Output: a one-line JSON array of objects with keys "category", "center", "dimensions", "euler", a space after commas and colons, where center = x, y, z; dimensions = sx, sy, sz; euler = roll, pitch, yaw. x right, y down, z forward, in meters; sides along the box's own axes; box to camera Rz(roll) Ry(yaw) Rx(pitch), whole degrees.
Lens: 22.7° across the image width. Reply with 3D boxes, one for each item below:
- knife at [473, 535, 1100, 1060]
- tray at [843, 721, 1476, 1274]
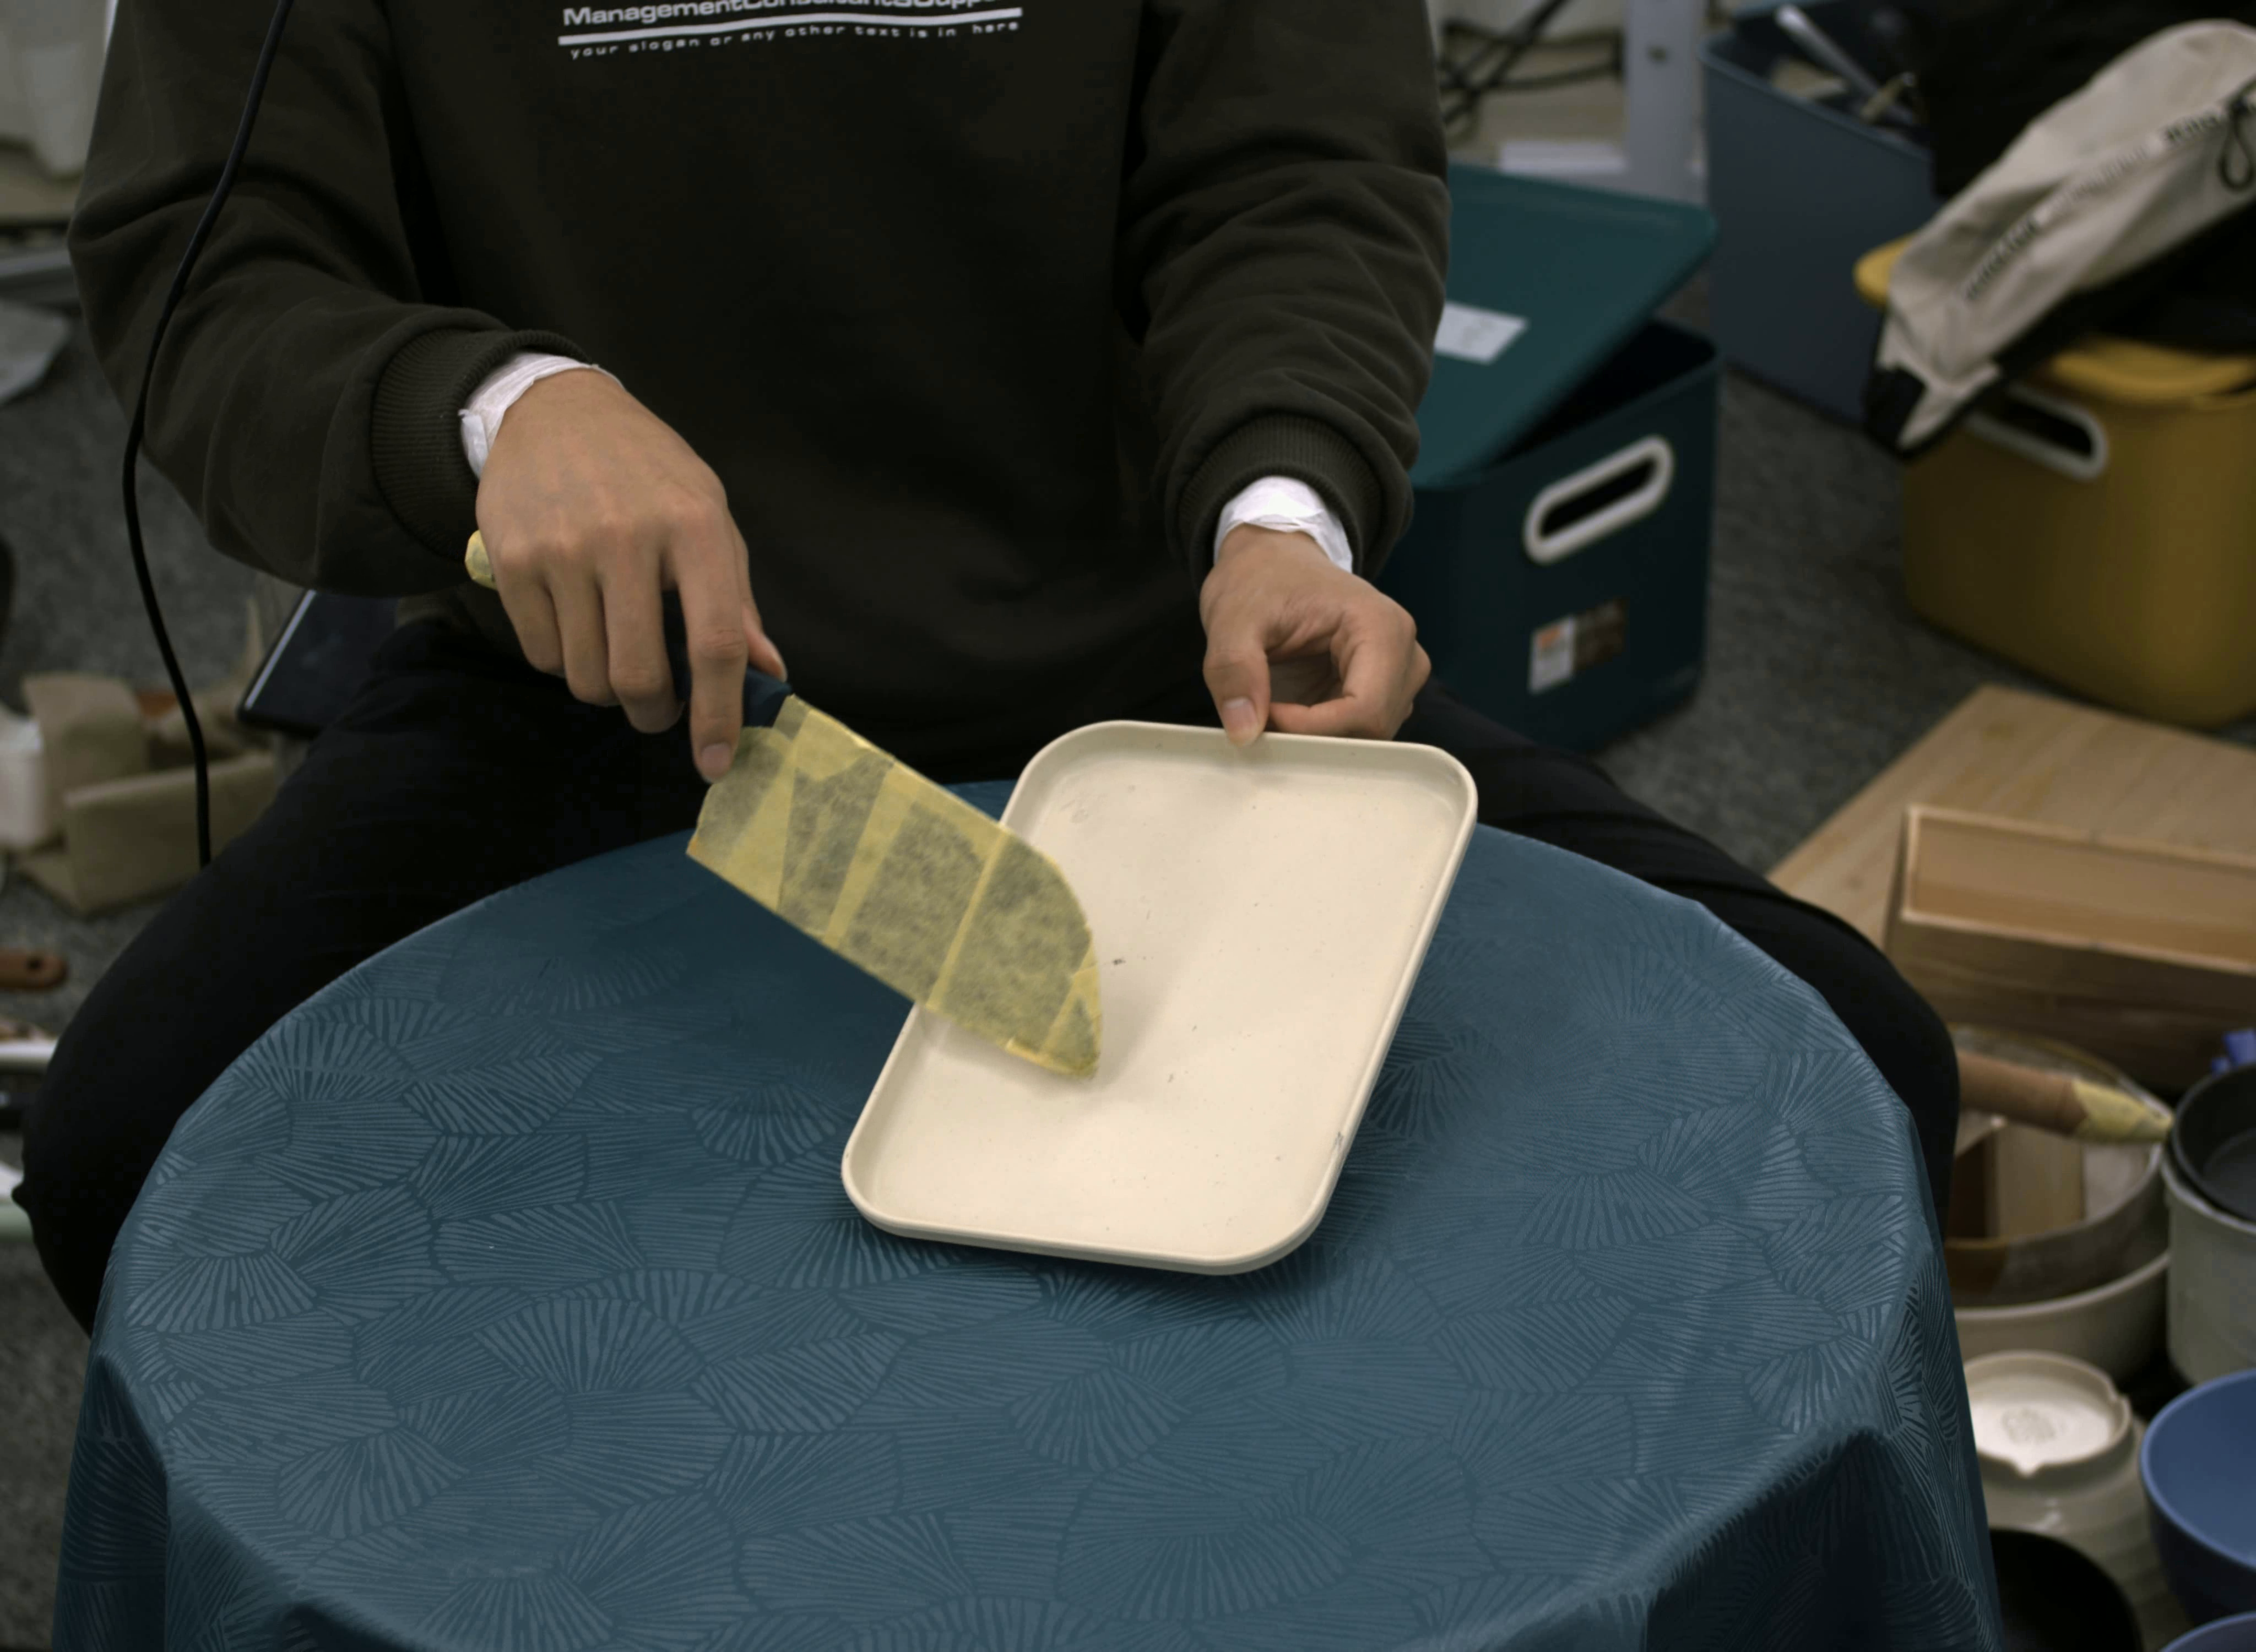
[{"category": "knife", "center": [-0.119, -0.010, 1.915], "dimensions": [0.290, 0.080, 0.027], "euler": [36, 20, 22]}, {"category": "tray", "center": [0.014, 0.056, 1.893], "dimensions": [0.170, 0.017, 0.244], "euler": [4, 46, 22]}]
